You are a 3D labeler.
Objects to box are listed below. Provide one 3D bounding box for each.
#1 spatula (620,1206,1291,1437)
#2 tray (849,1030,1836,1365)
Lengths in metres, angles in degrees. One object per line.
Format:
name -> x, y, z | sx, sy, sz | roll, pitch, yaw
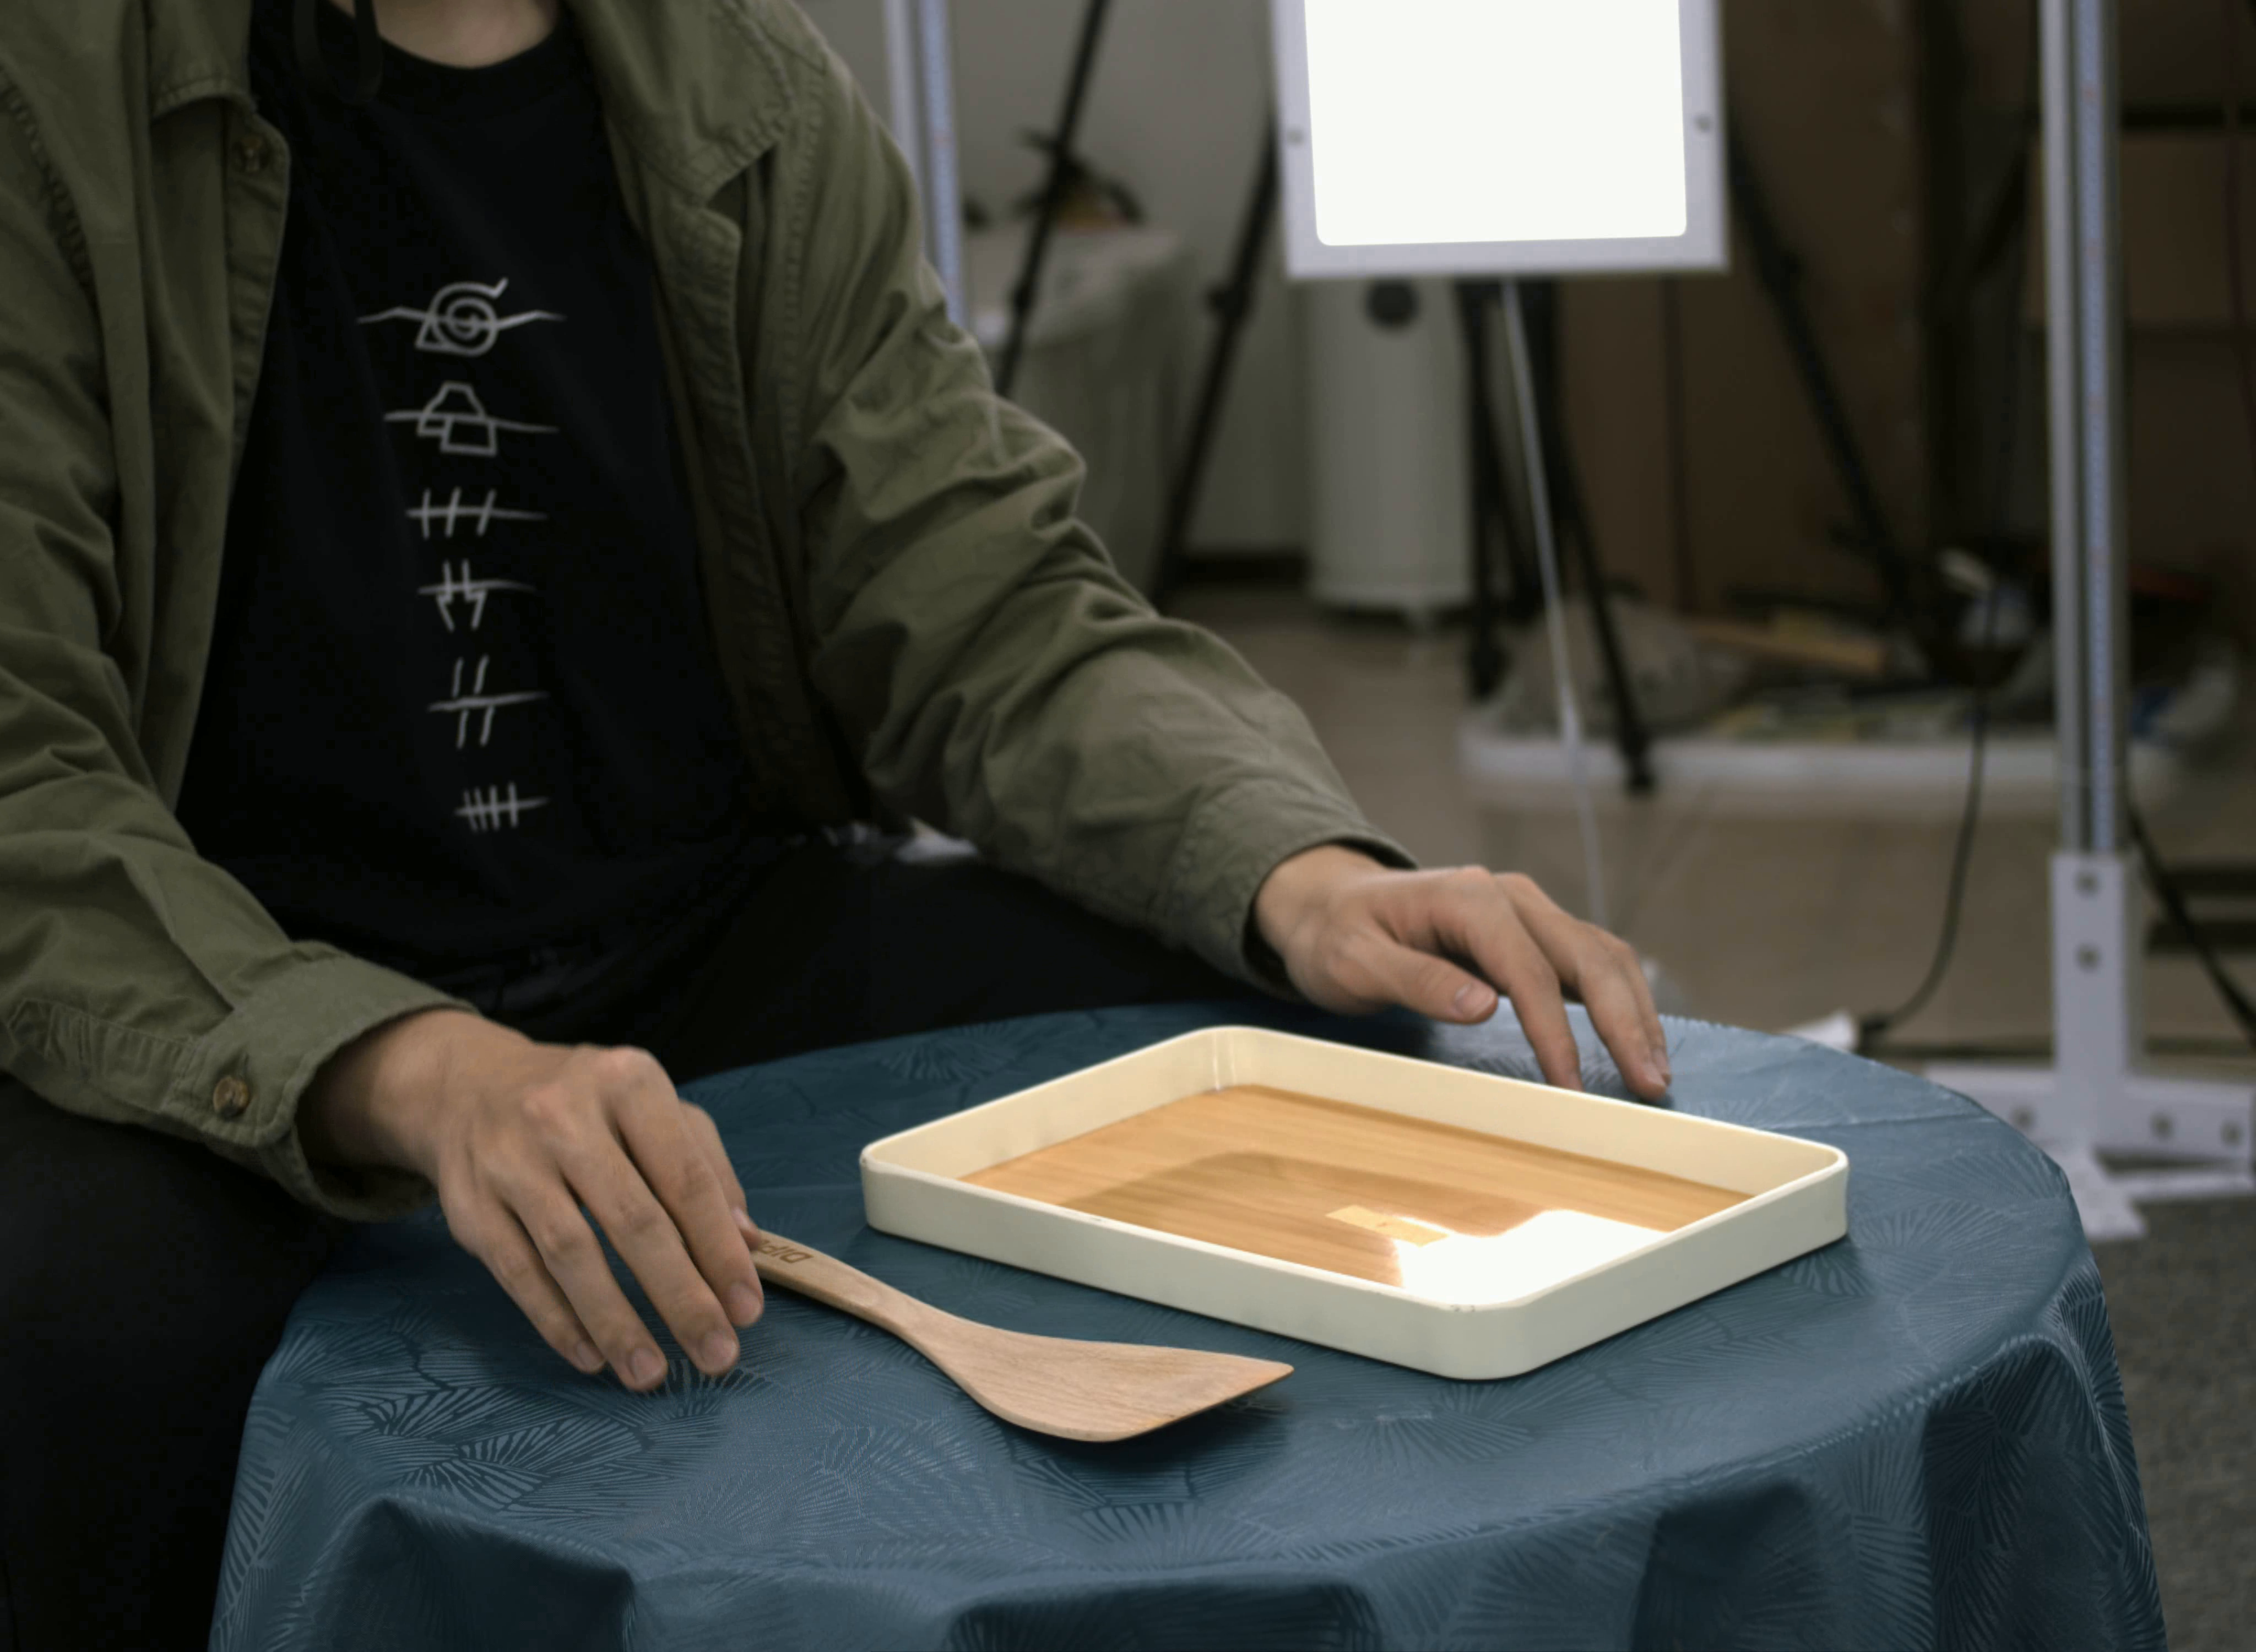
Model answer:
spatula -> -0.069, 0.154, 1.773 | 0.078, 0.016, 0.334 | -14, 16, -35
tray -> 0.069, 0.120, 1.836 | 0.187, 0.027, 0.307 | -16, 16, -40
